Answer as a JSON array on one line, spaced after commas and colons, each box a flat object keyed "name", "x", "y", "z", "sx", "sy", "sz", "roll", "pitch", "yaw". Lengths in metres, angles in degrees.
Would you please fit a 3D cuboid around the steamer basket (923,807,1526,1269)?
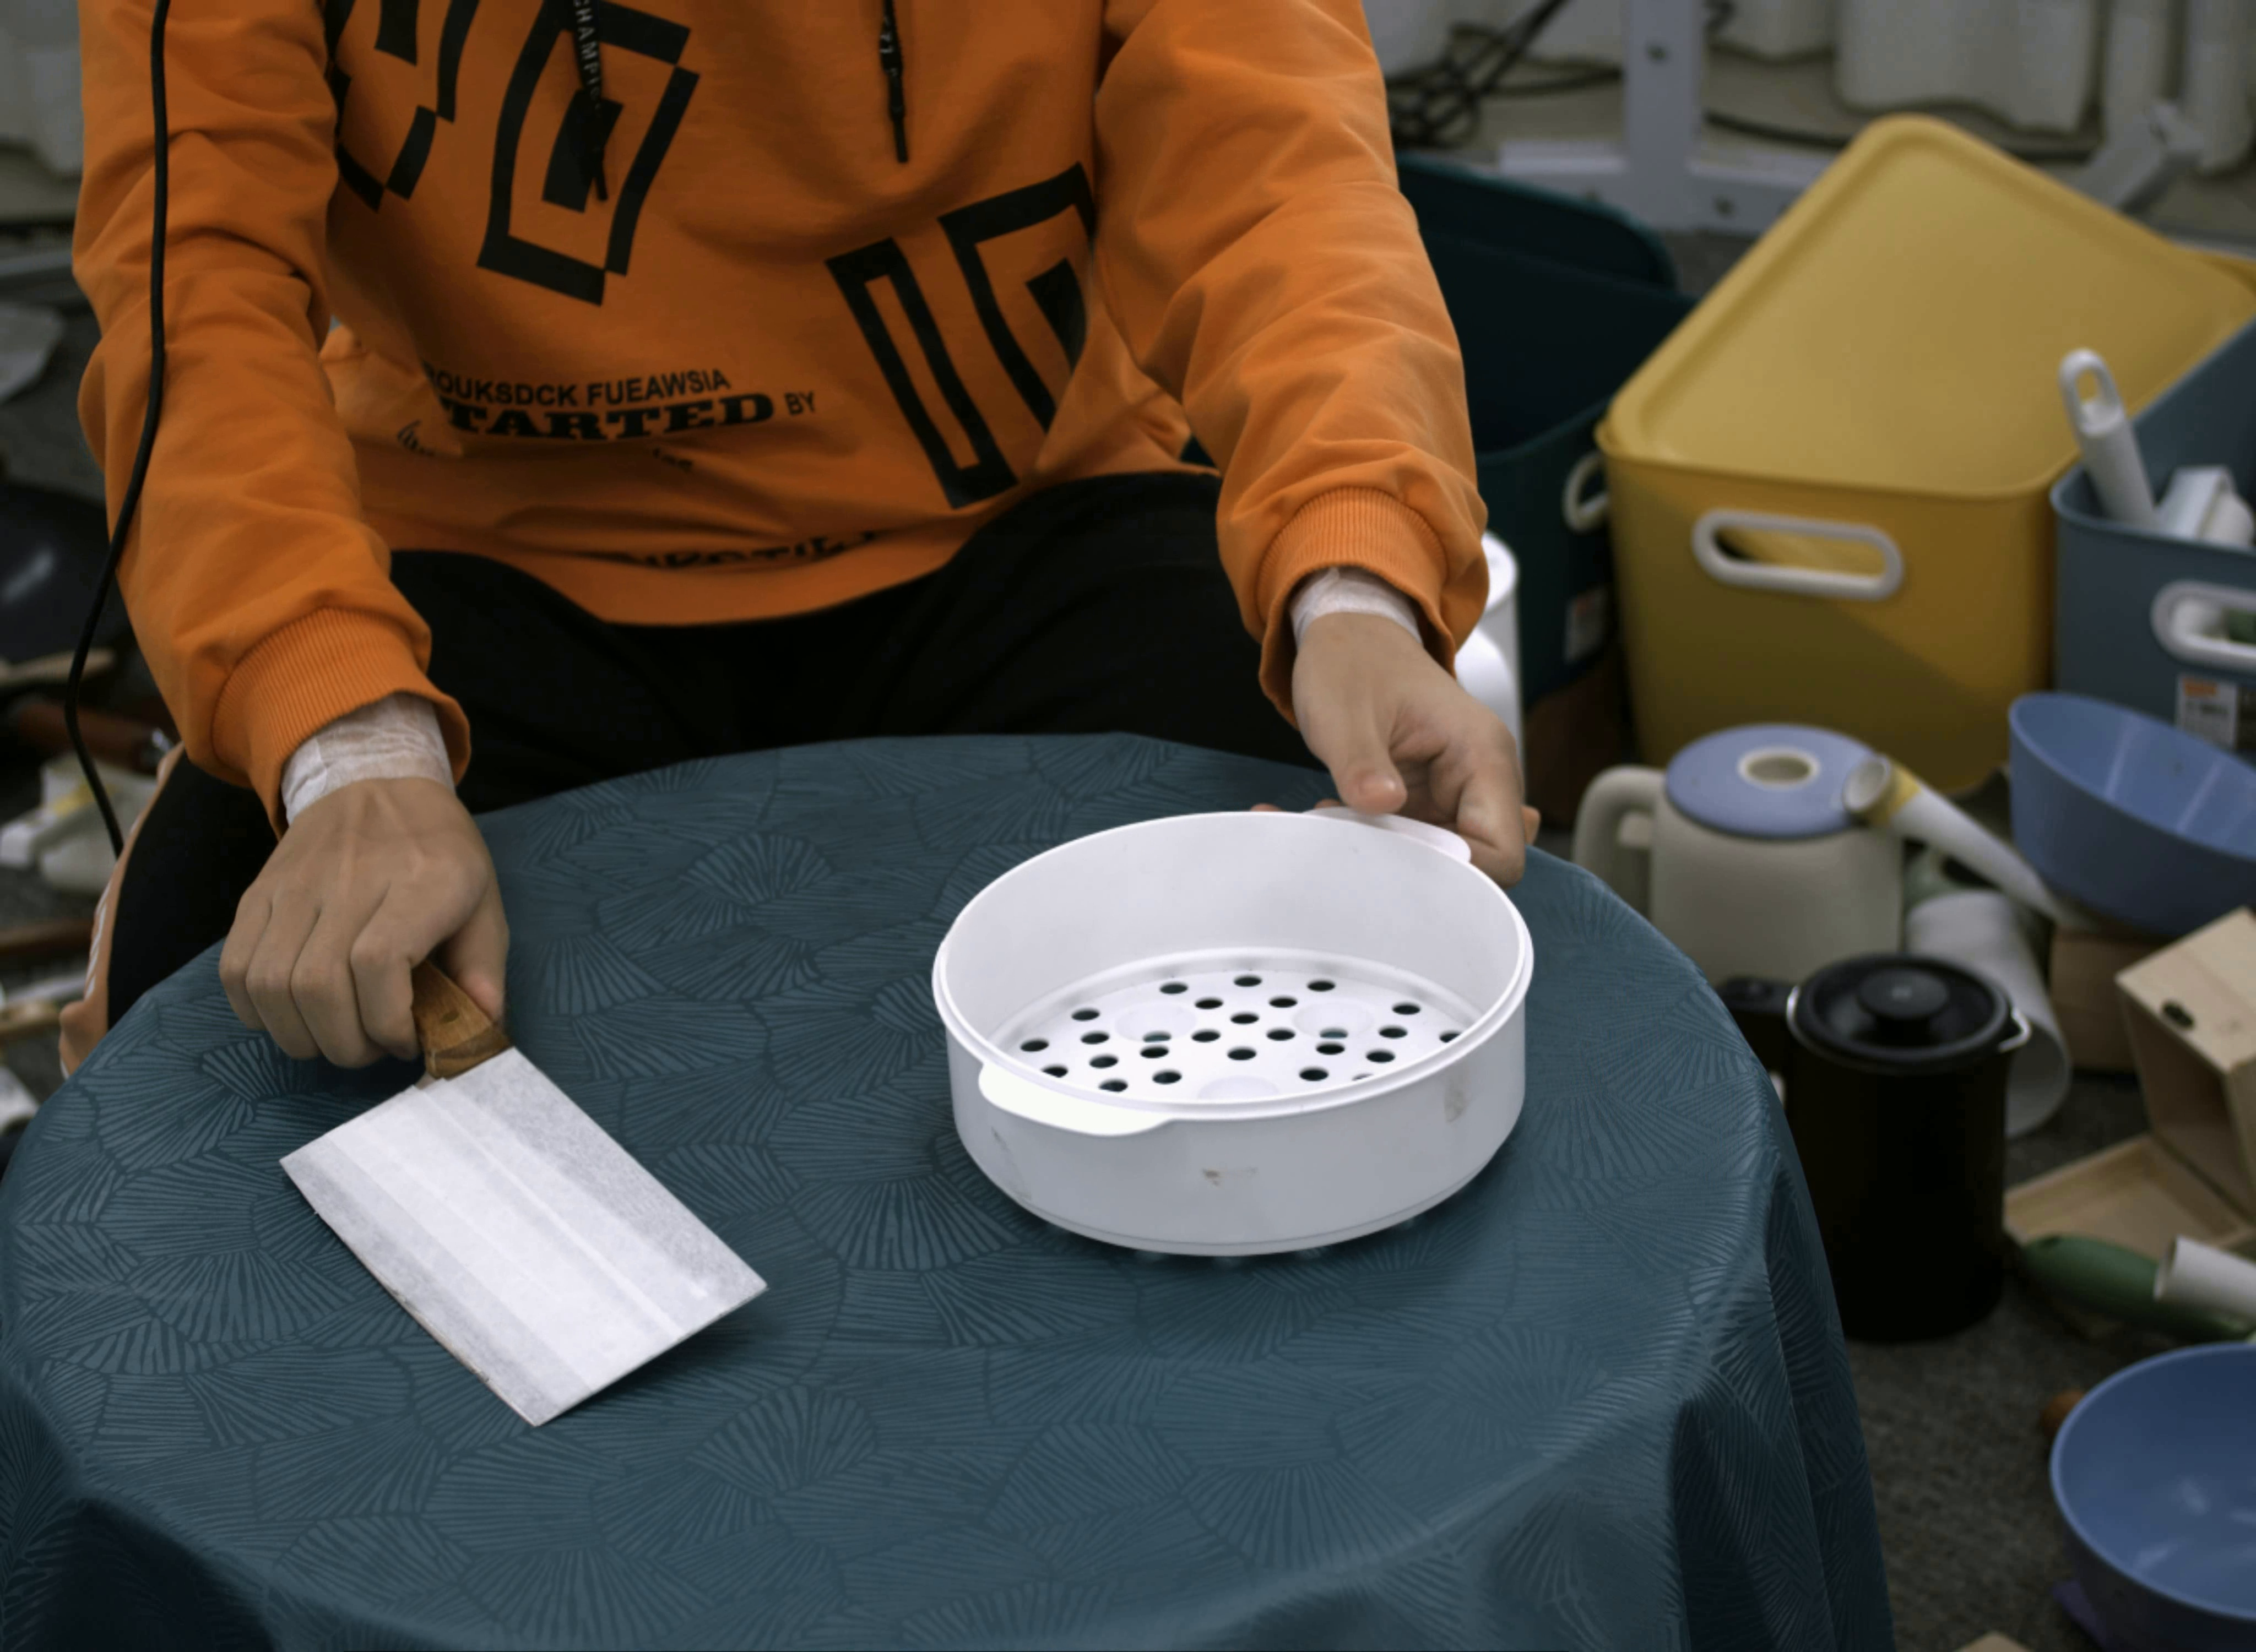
[{"name": "steamer basket", "x": 0.034, "y": 0.072, "z": 1.880, "sx": 0.201, "sy": 0.068, "sz": 0.234, "roll": 14, "pitch": 34, "yaw": 30}]

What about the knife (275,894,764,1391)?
[{"name": "knife", "x": -0.230, "y": 0.107, "z": 1.882, "sx": 0.093, "sy": 0.021, "sz": 0.307, "roll": -30, "pitch": 37, "yaw": -20}]
